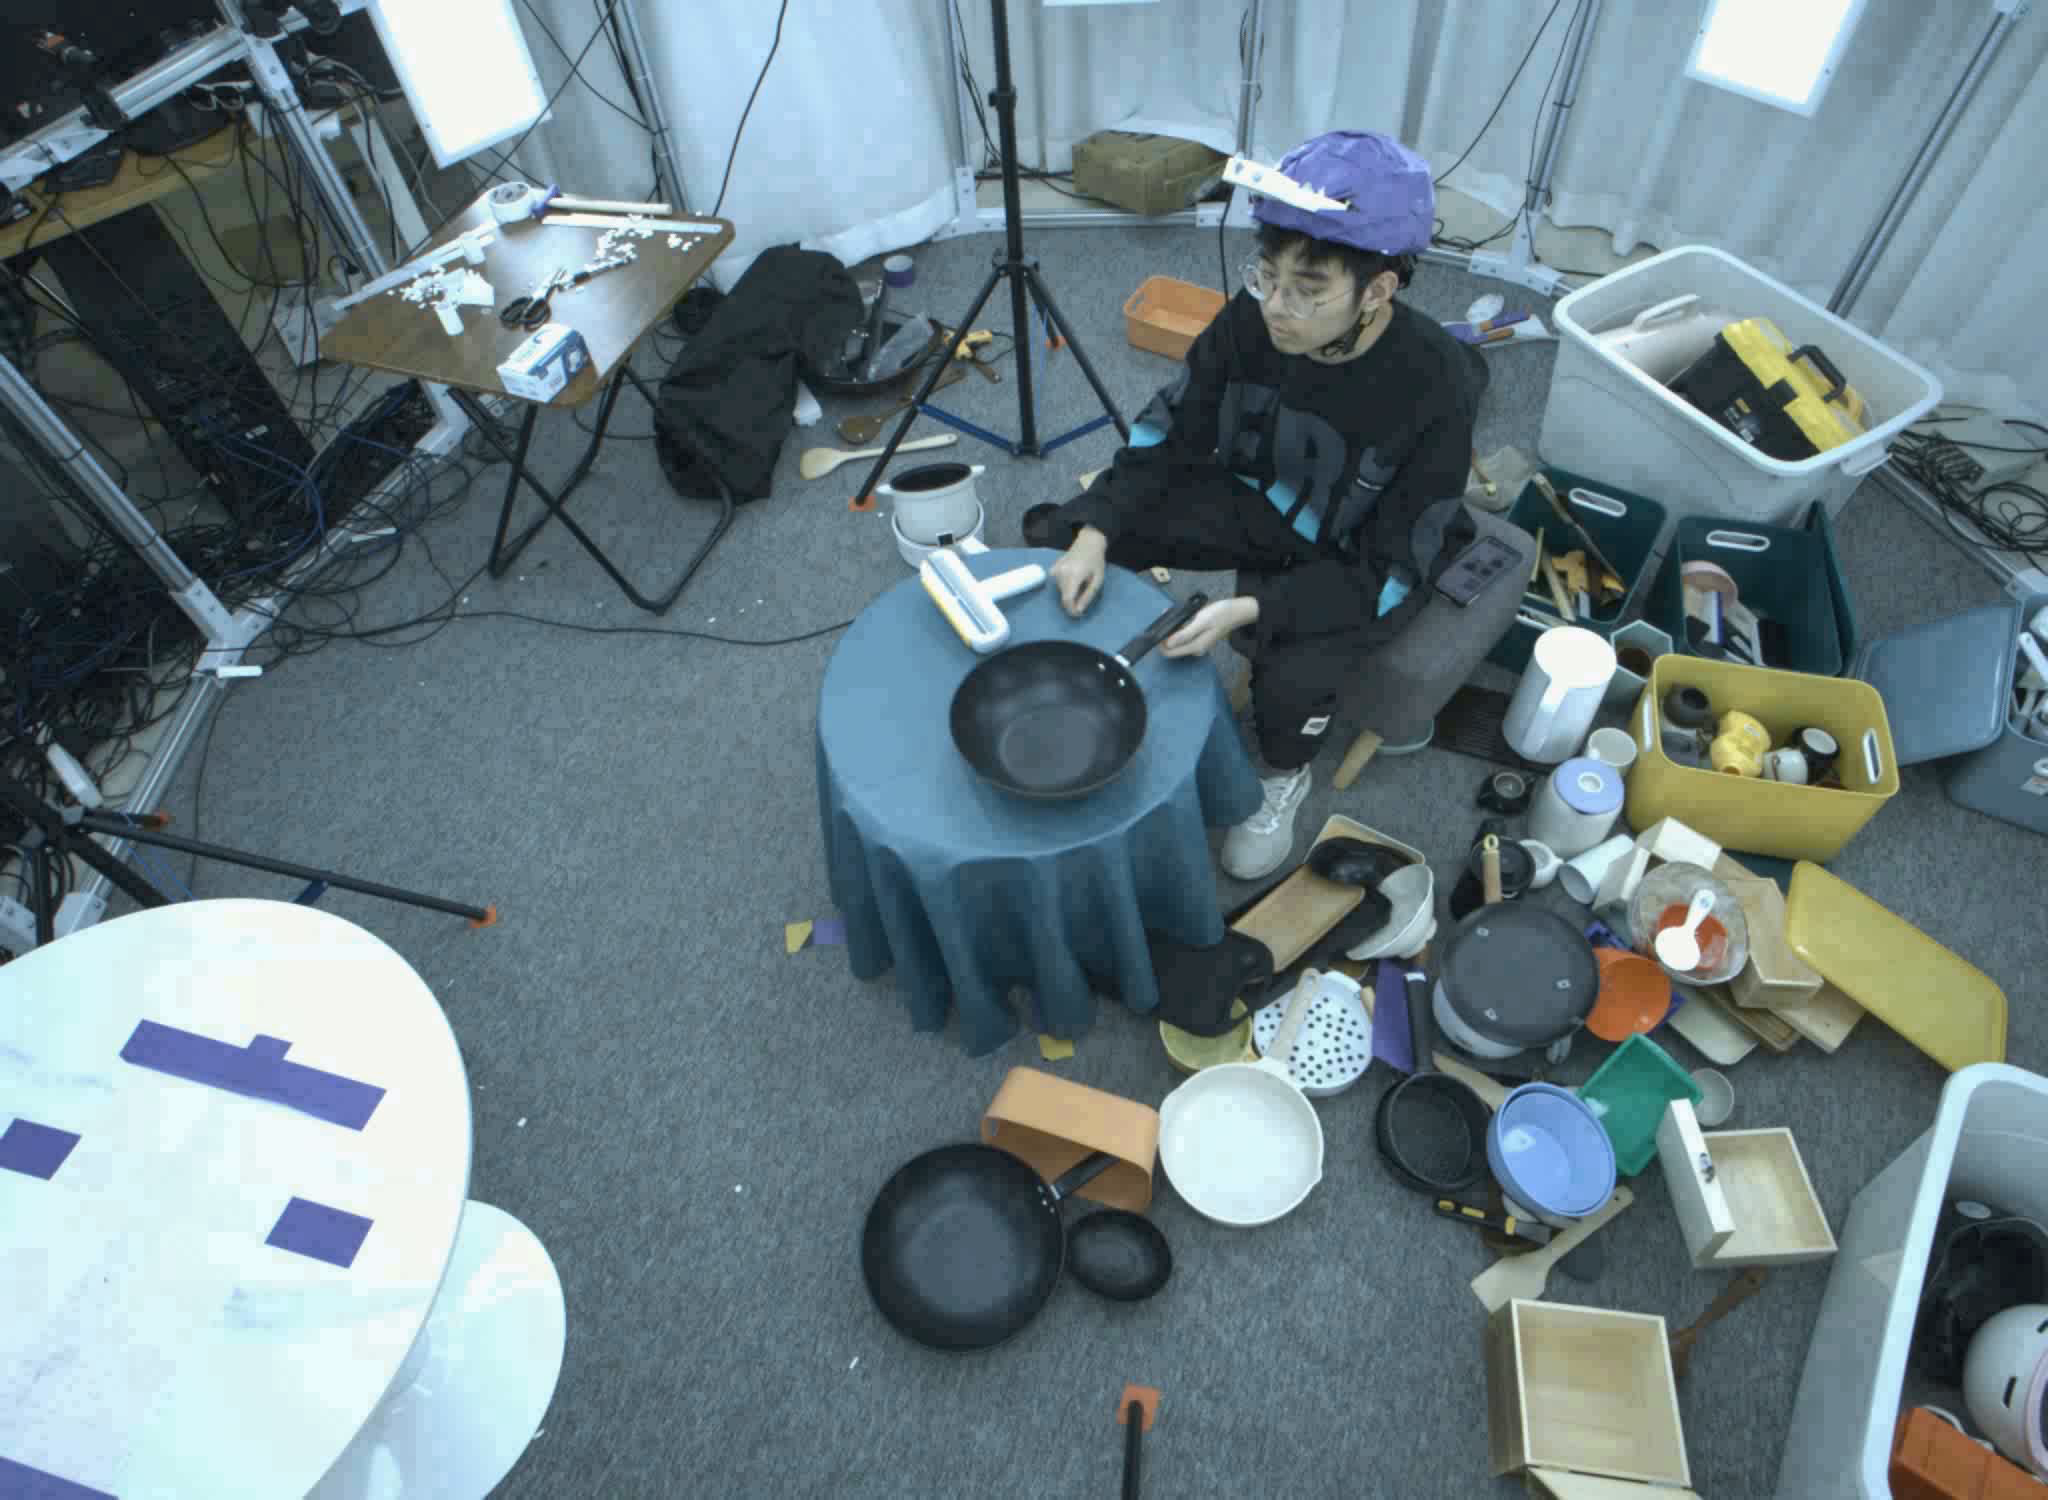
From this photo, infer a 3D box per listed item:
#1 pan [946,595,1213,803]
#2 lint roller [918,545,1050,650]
[{"bbox_3d":[0.100,-0.081,1.786,0.467,0.088,0.283,-38,62,-23],"label":"pan"},{"bbox_3d":[-0.047,-0.257,1.925,0.194,0.075,0.189,-26,63,-17],"label":"lint roller"}]
